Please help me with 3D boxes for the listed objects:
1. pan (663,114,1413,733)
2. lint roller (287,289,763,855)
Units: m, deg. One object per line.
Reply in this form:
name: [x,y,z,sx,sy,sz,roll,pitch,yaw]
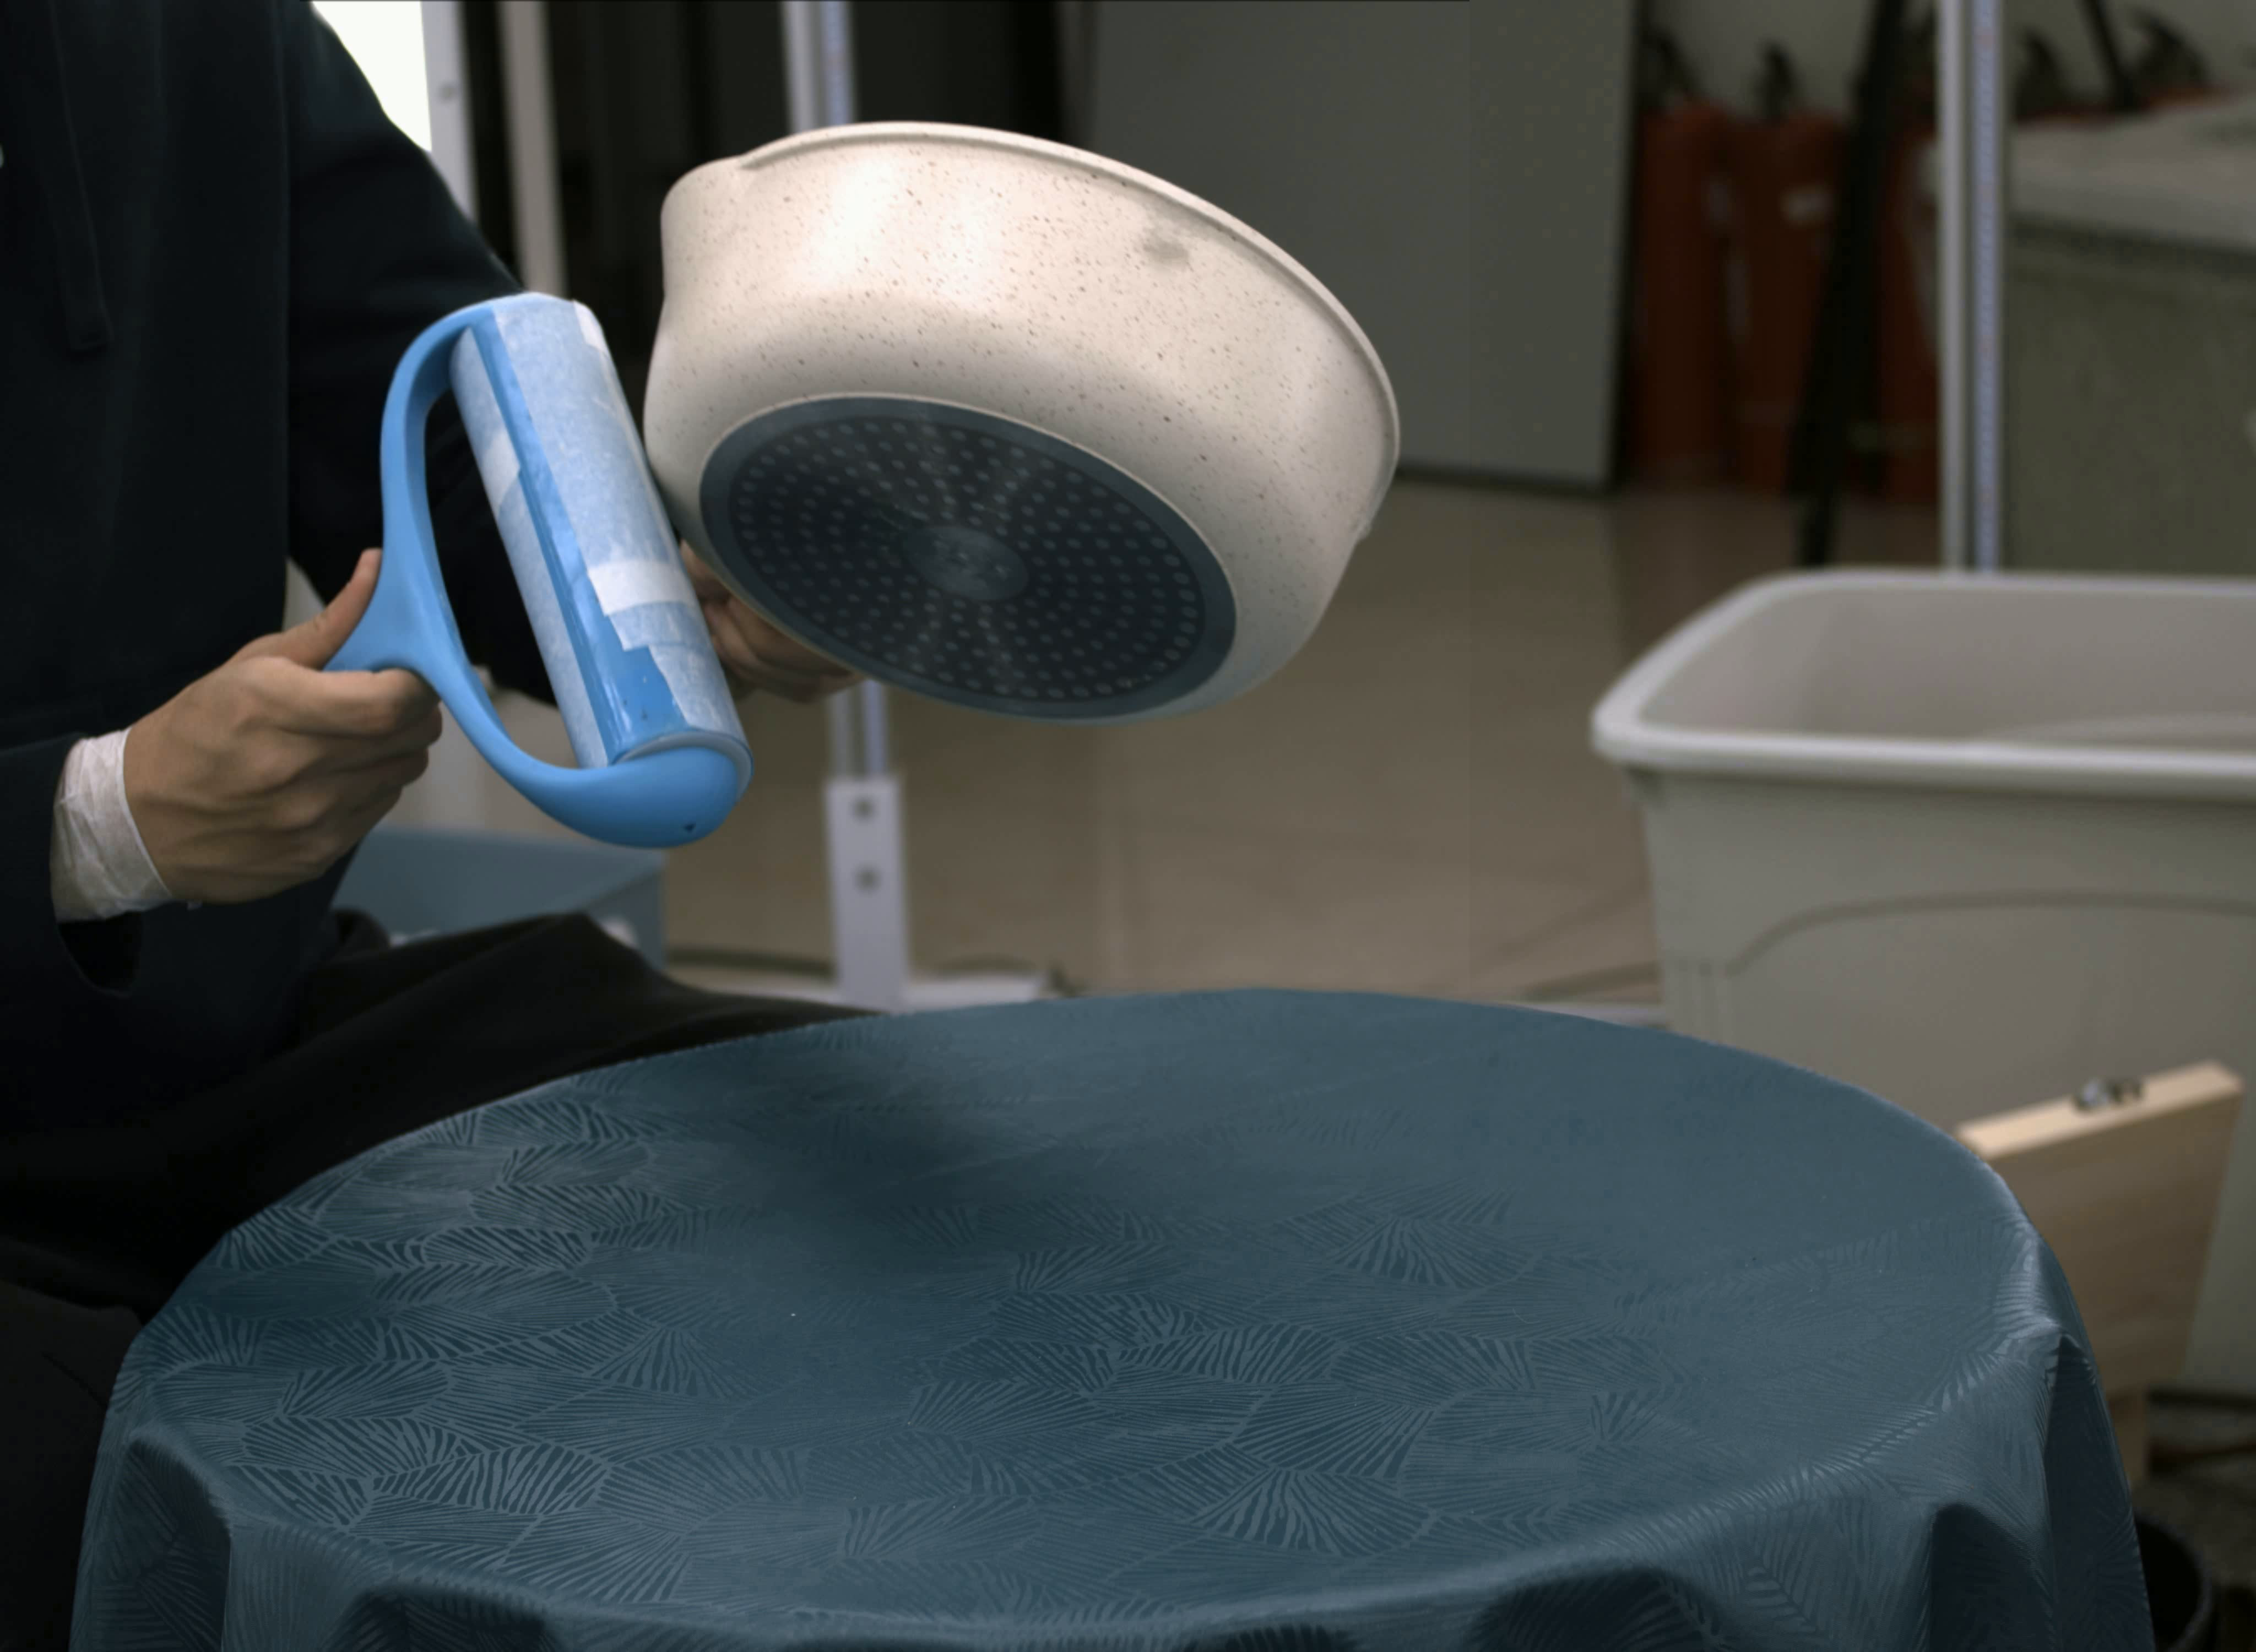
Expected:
pan: [-0.074,-0.092,1.839,0.259,0.102,0.439,24,-30,-16]
lint roller: [-0.217,-0.053,1.762,0.180,0.232,0.067,-35,-37,13]
